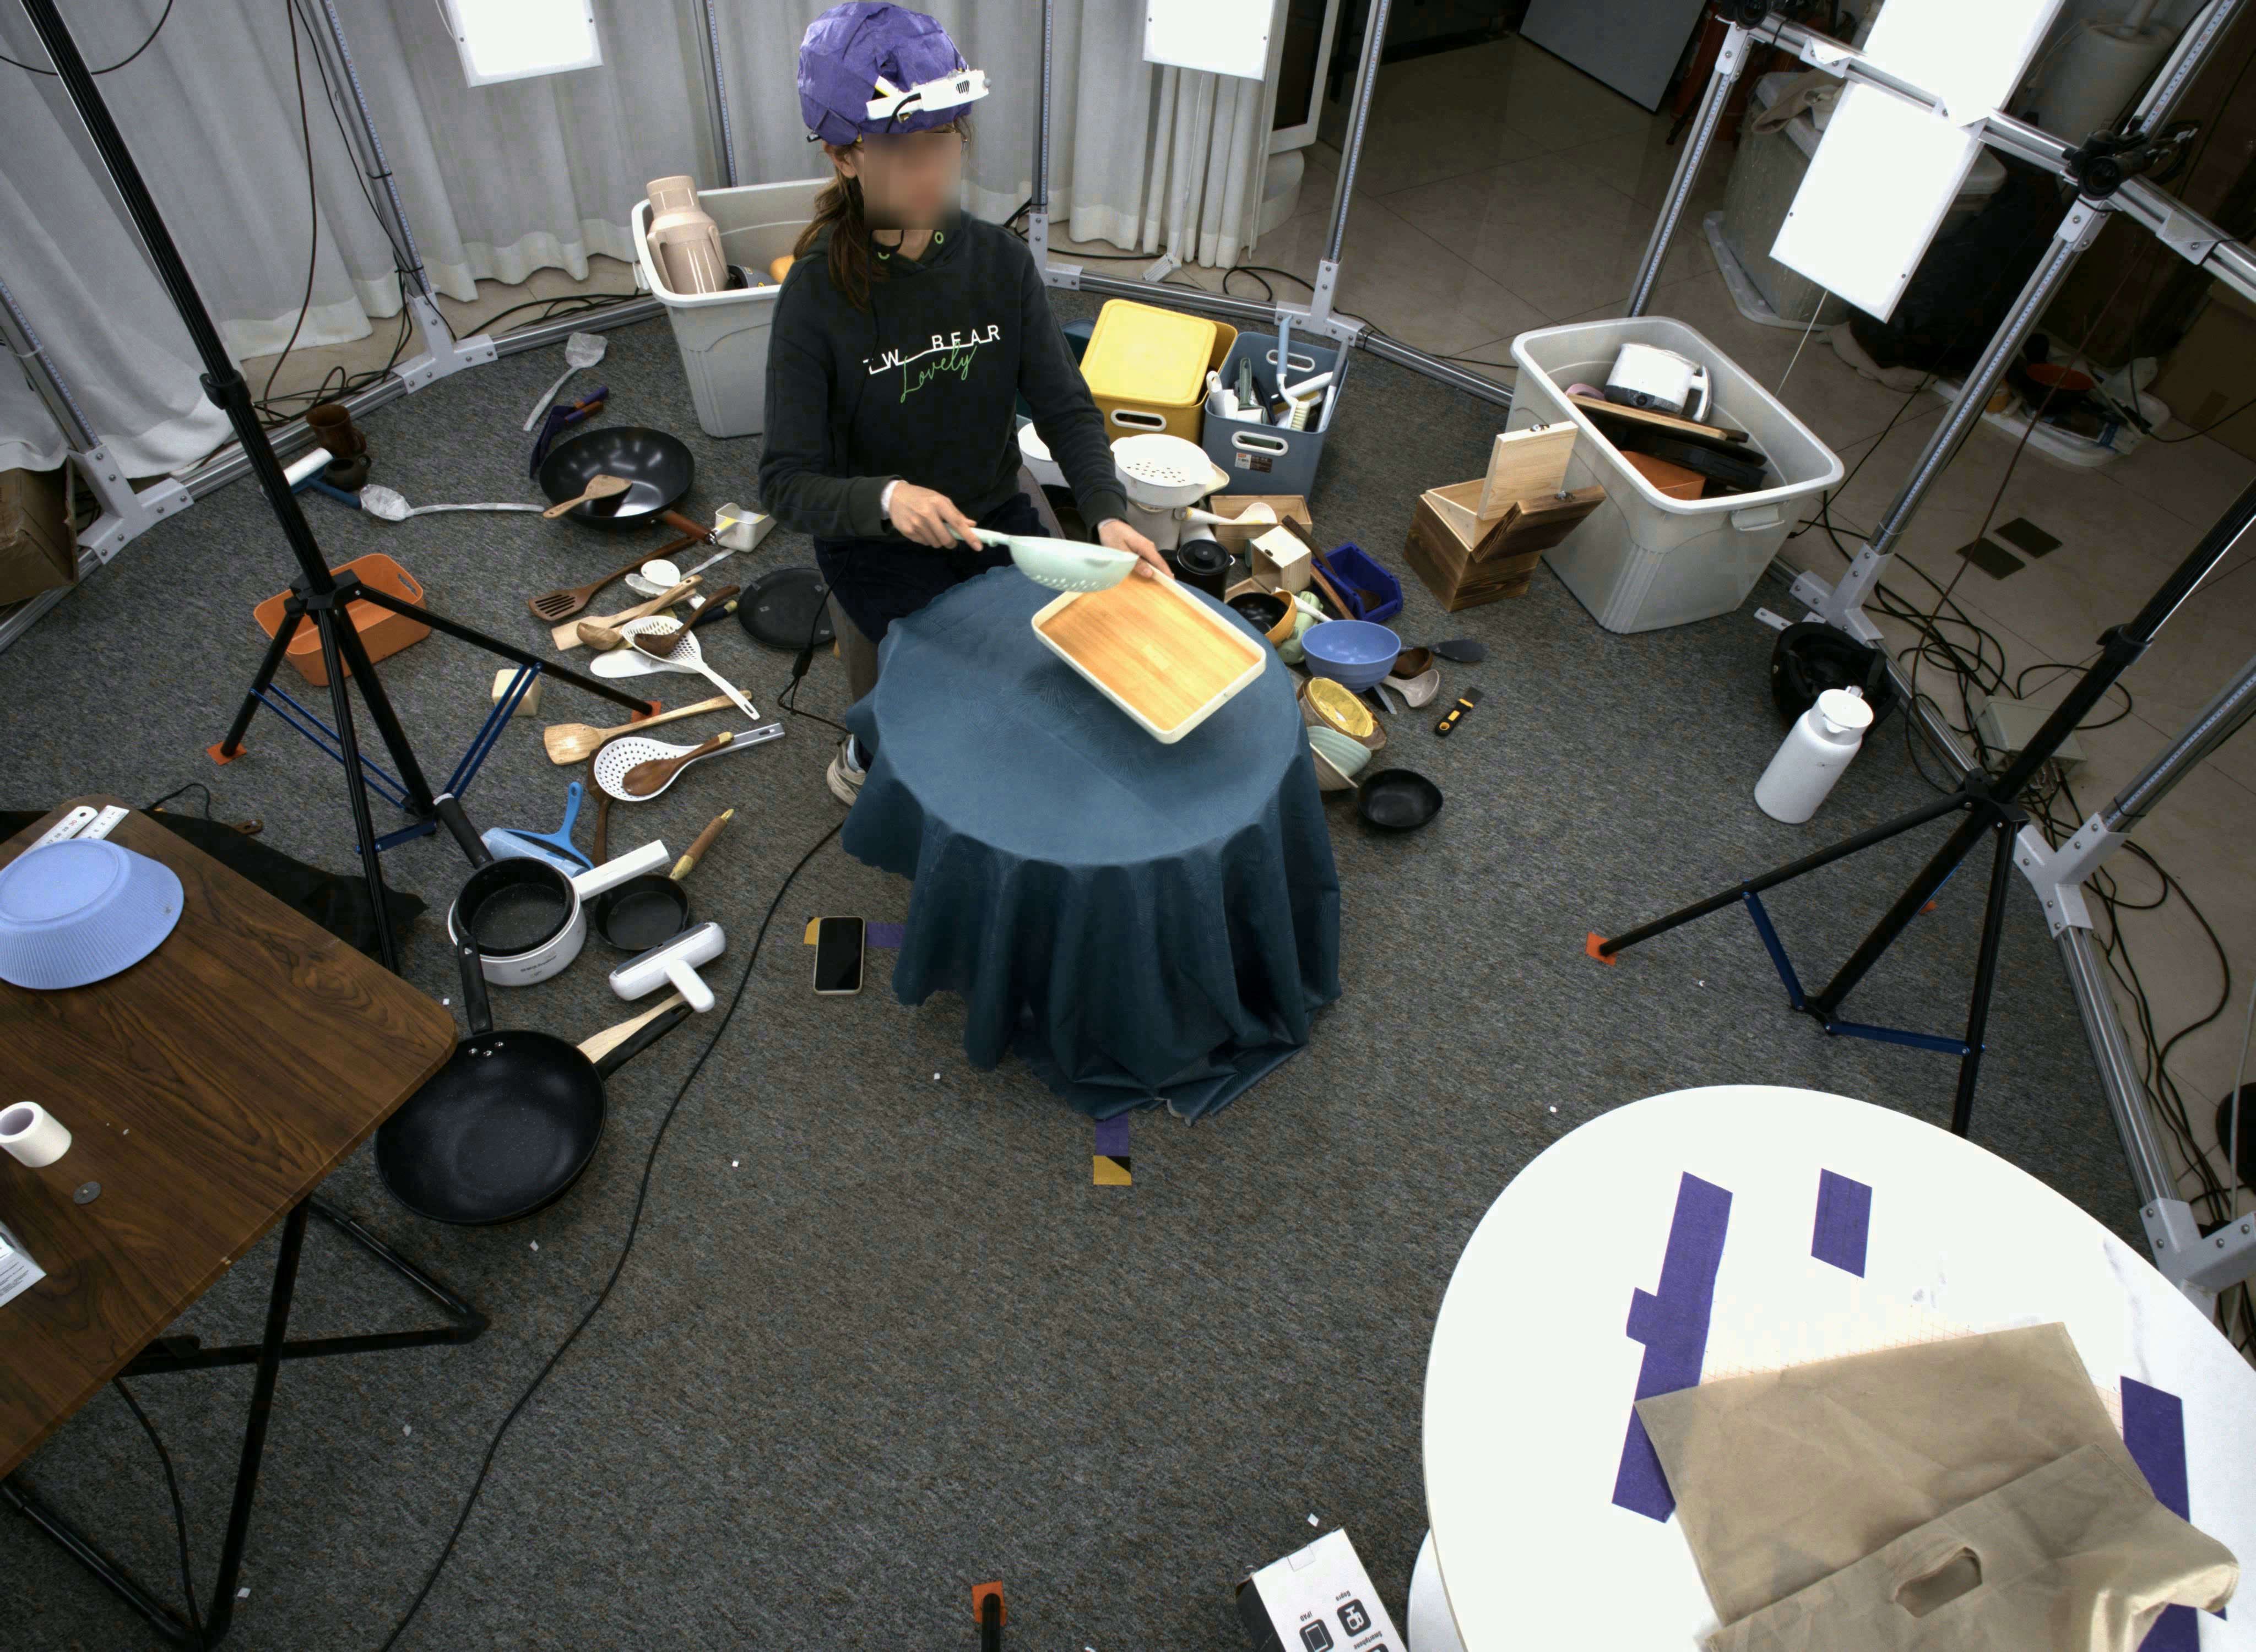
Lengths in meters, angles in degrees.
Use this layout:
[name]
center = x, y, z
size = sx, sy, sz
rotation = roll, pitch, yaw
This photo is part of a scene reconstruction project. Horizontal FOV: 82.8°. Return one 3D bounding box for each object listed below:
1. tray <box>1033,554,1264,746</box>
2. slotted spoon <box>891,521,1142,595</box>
[tray]
center = 0.025, -0.250, 1.787
size = 0.193, 0.027, 0.305
rotation = -38, 58, -15
[slotted spoon]
center = -0.159, -0.374, 1.738
size = 0.361, 0.074, 0.170
rotation = 21, 19, 17
